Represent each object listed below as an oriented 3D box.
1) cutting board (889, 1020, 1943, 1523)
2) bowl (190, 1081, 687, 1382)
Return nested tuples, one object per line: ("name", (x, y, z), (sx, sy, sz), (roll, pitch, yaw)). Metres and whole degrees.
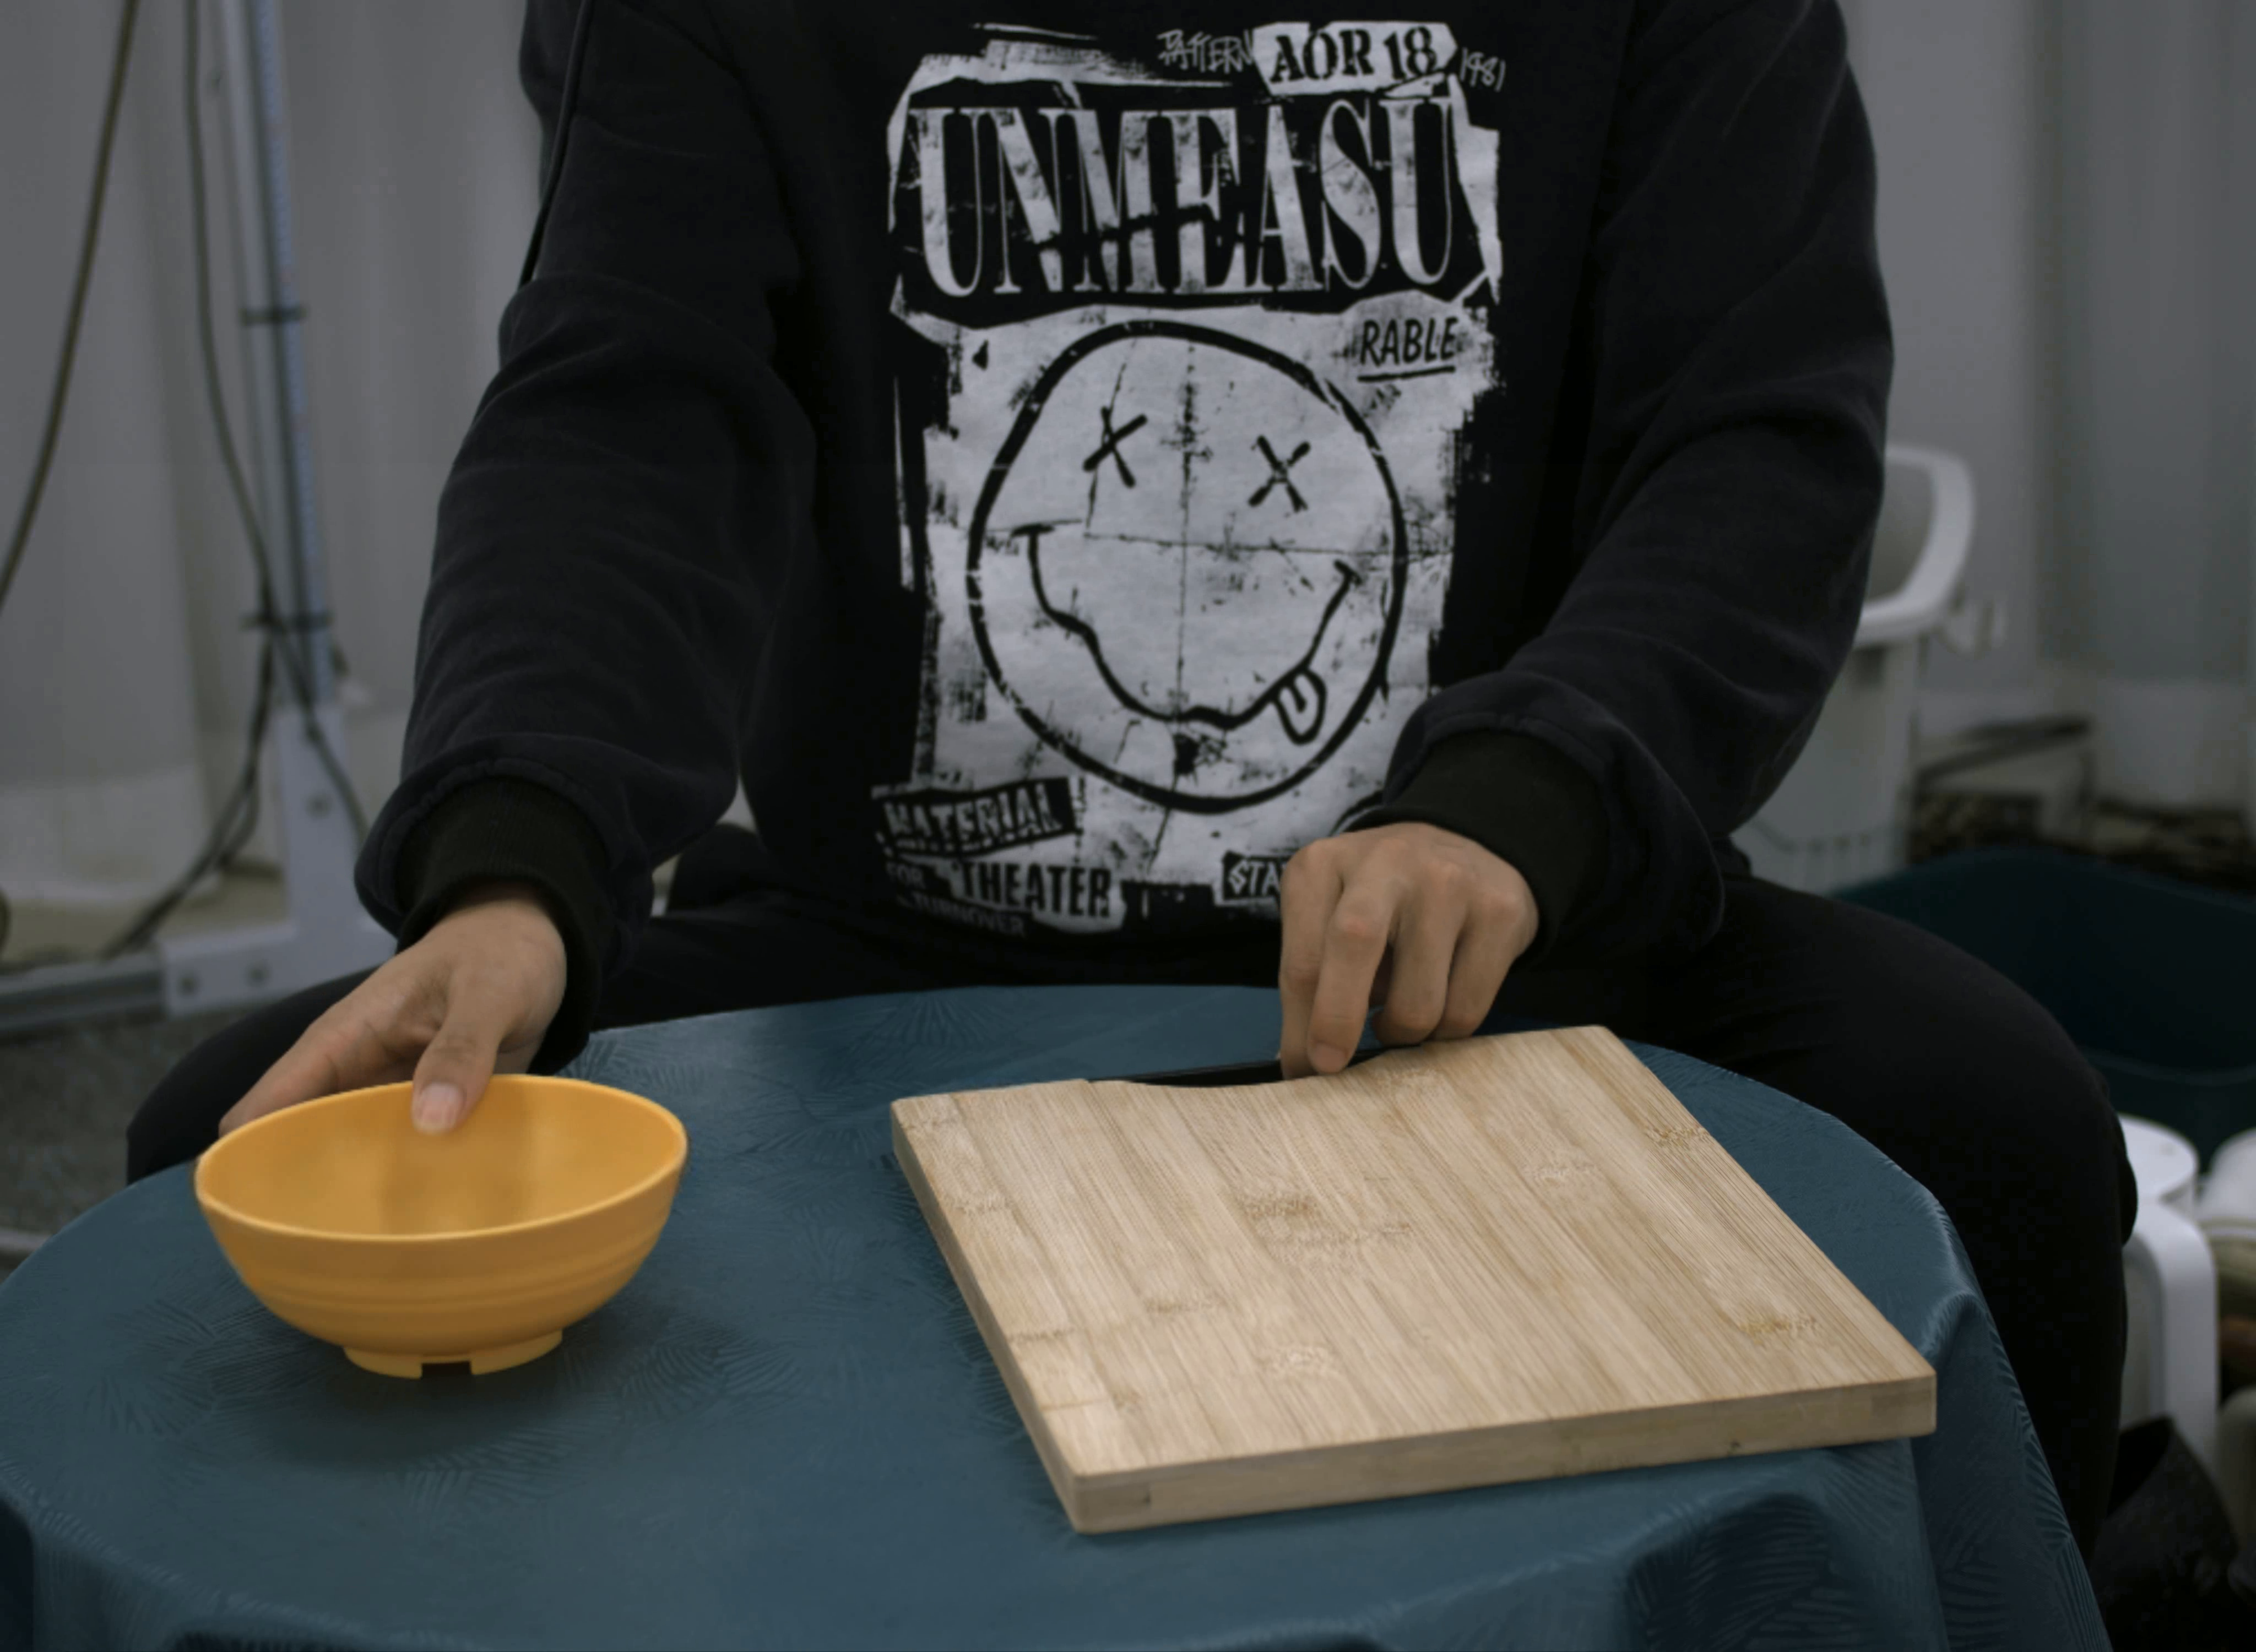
("cutting board", (0.072, 0.126, 1.627), (0.249, 0.023, 0.351), (-6, 15, -11))
("bowl", (-0.202, 0.124, 1.606), (0.145, 0.060, 0.146), (1, 14, 0))
